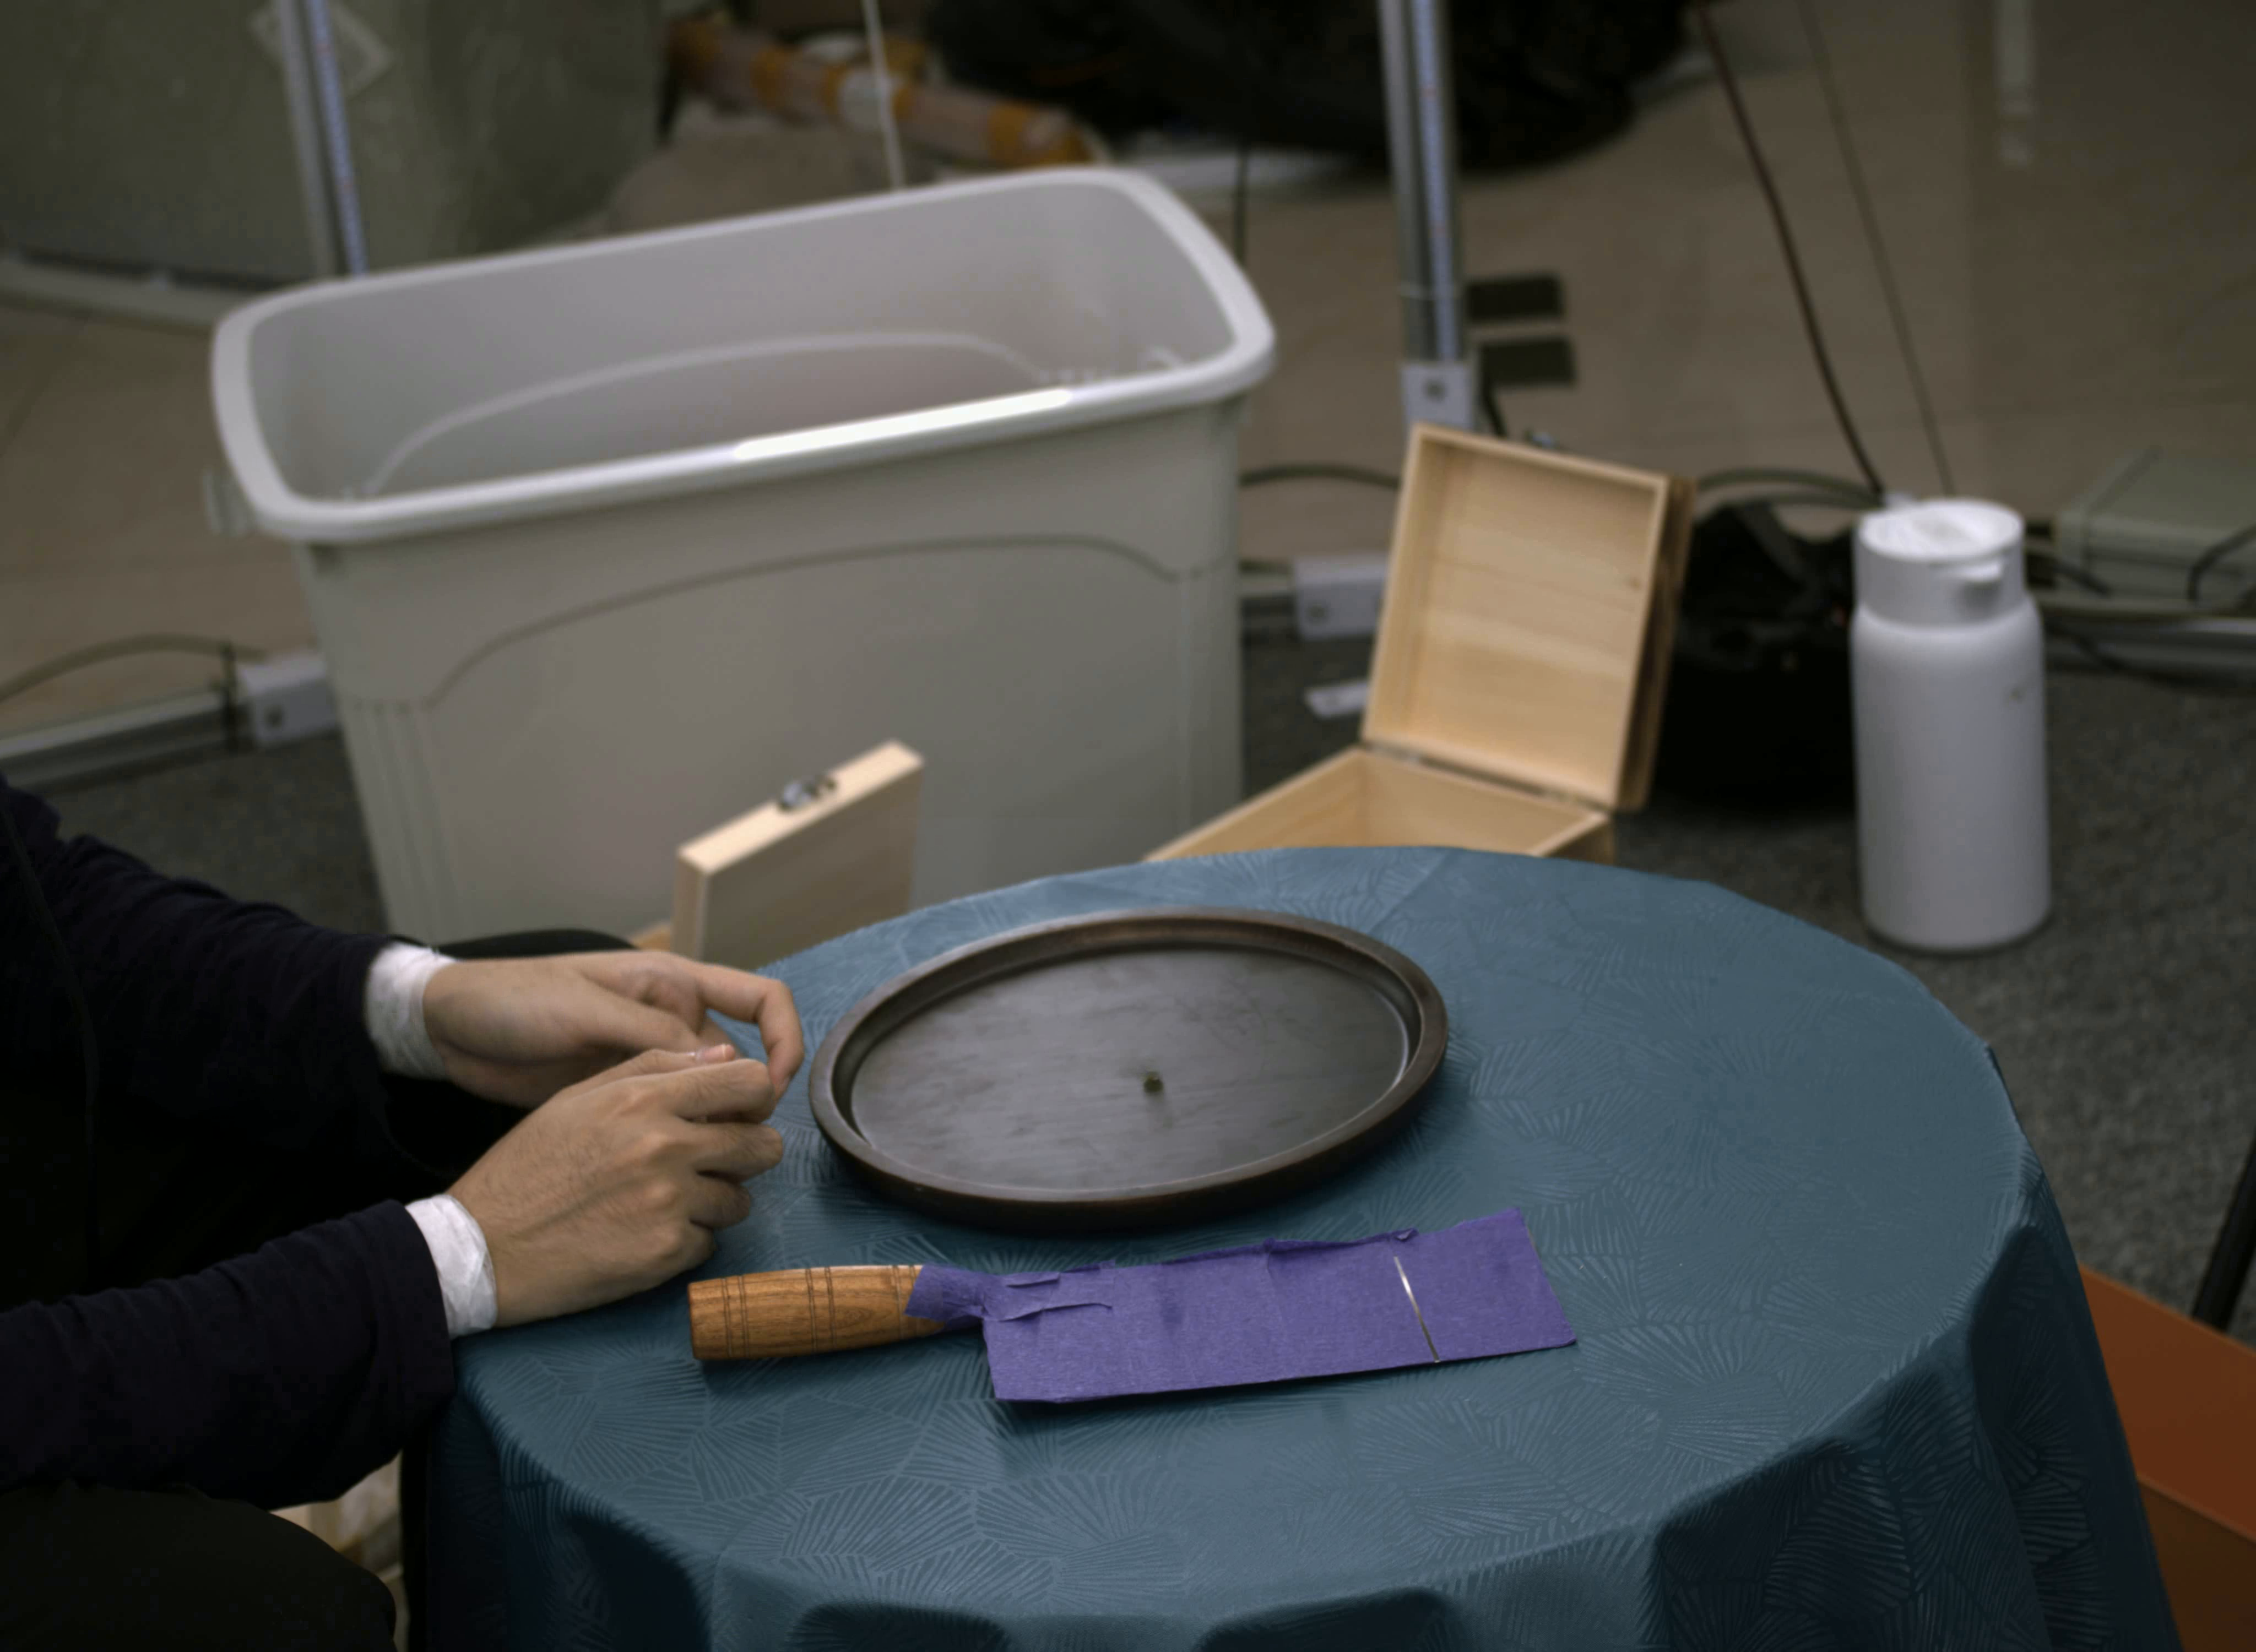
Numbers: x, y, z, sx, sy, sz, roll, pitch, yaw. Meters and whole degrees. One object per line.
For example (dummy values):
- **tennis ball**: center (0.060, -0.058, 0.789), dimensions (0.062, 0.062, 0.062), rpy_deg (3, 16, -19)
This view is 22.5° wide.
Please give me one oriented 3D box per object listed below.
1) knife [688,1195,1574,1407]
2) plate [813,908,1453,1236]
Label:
- **knife**: center (0.000, 0.176, 2.040), dimensions (0.314, 0.033, 0.102), rpy_deg (-8, 25, -4)
- **plate**: center (0.002, 0.095, 2.218), dimensions (0.254, 0.029, 0.251), rpy_deg (-5, 24, 2)
